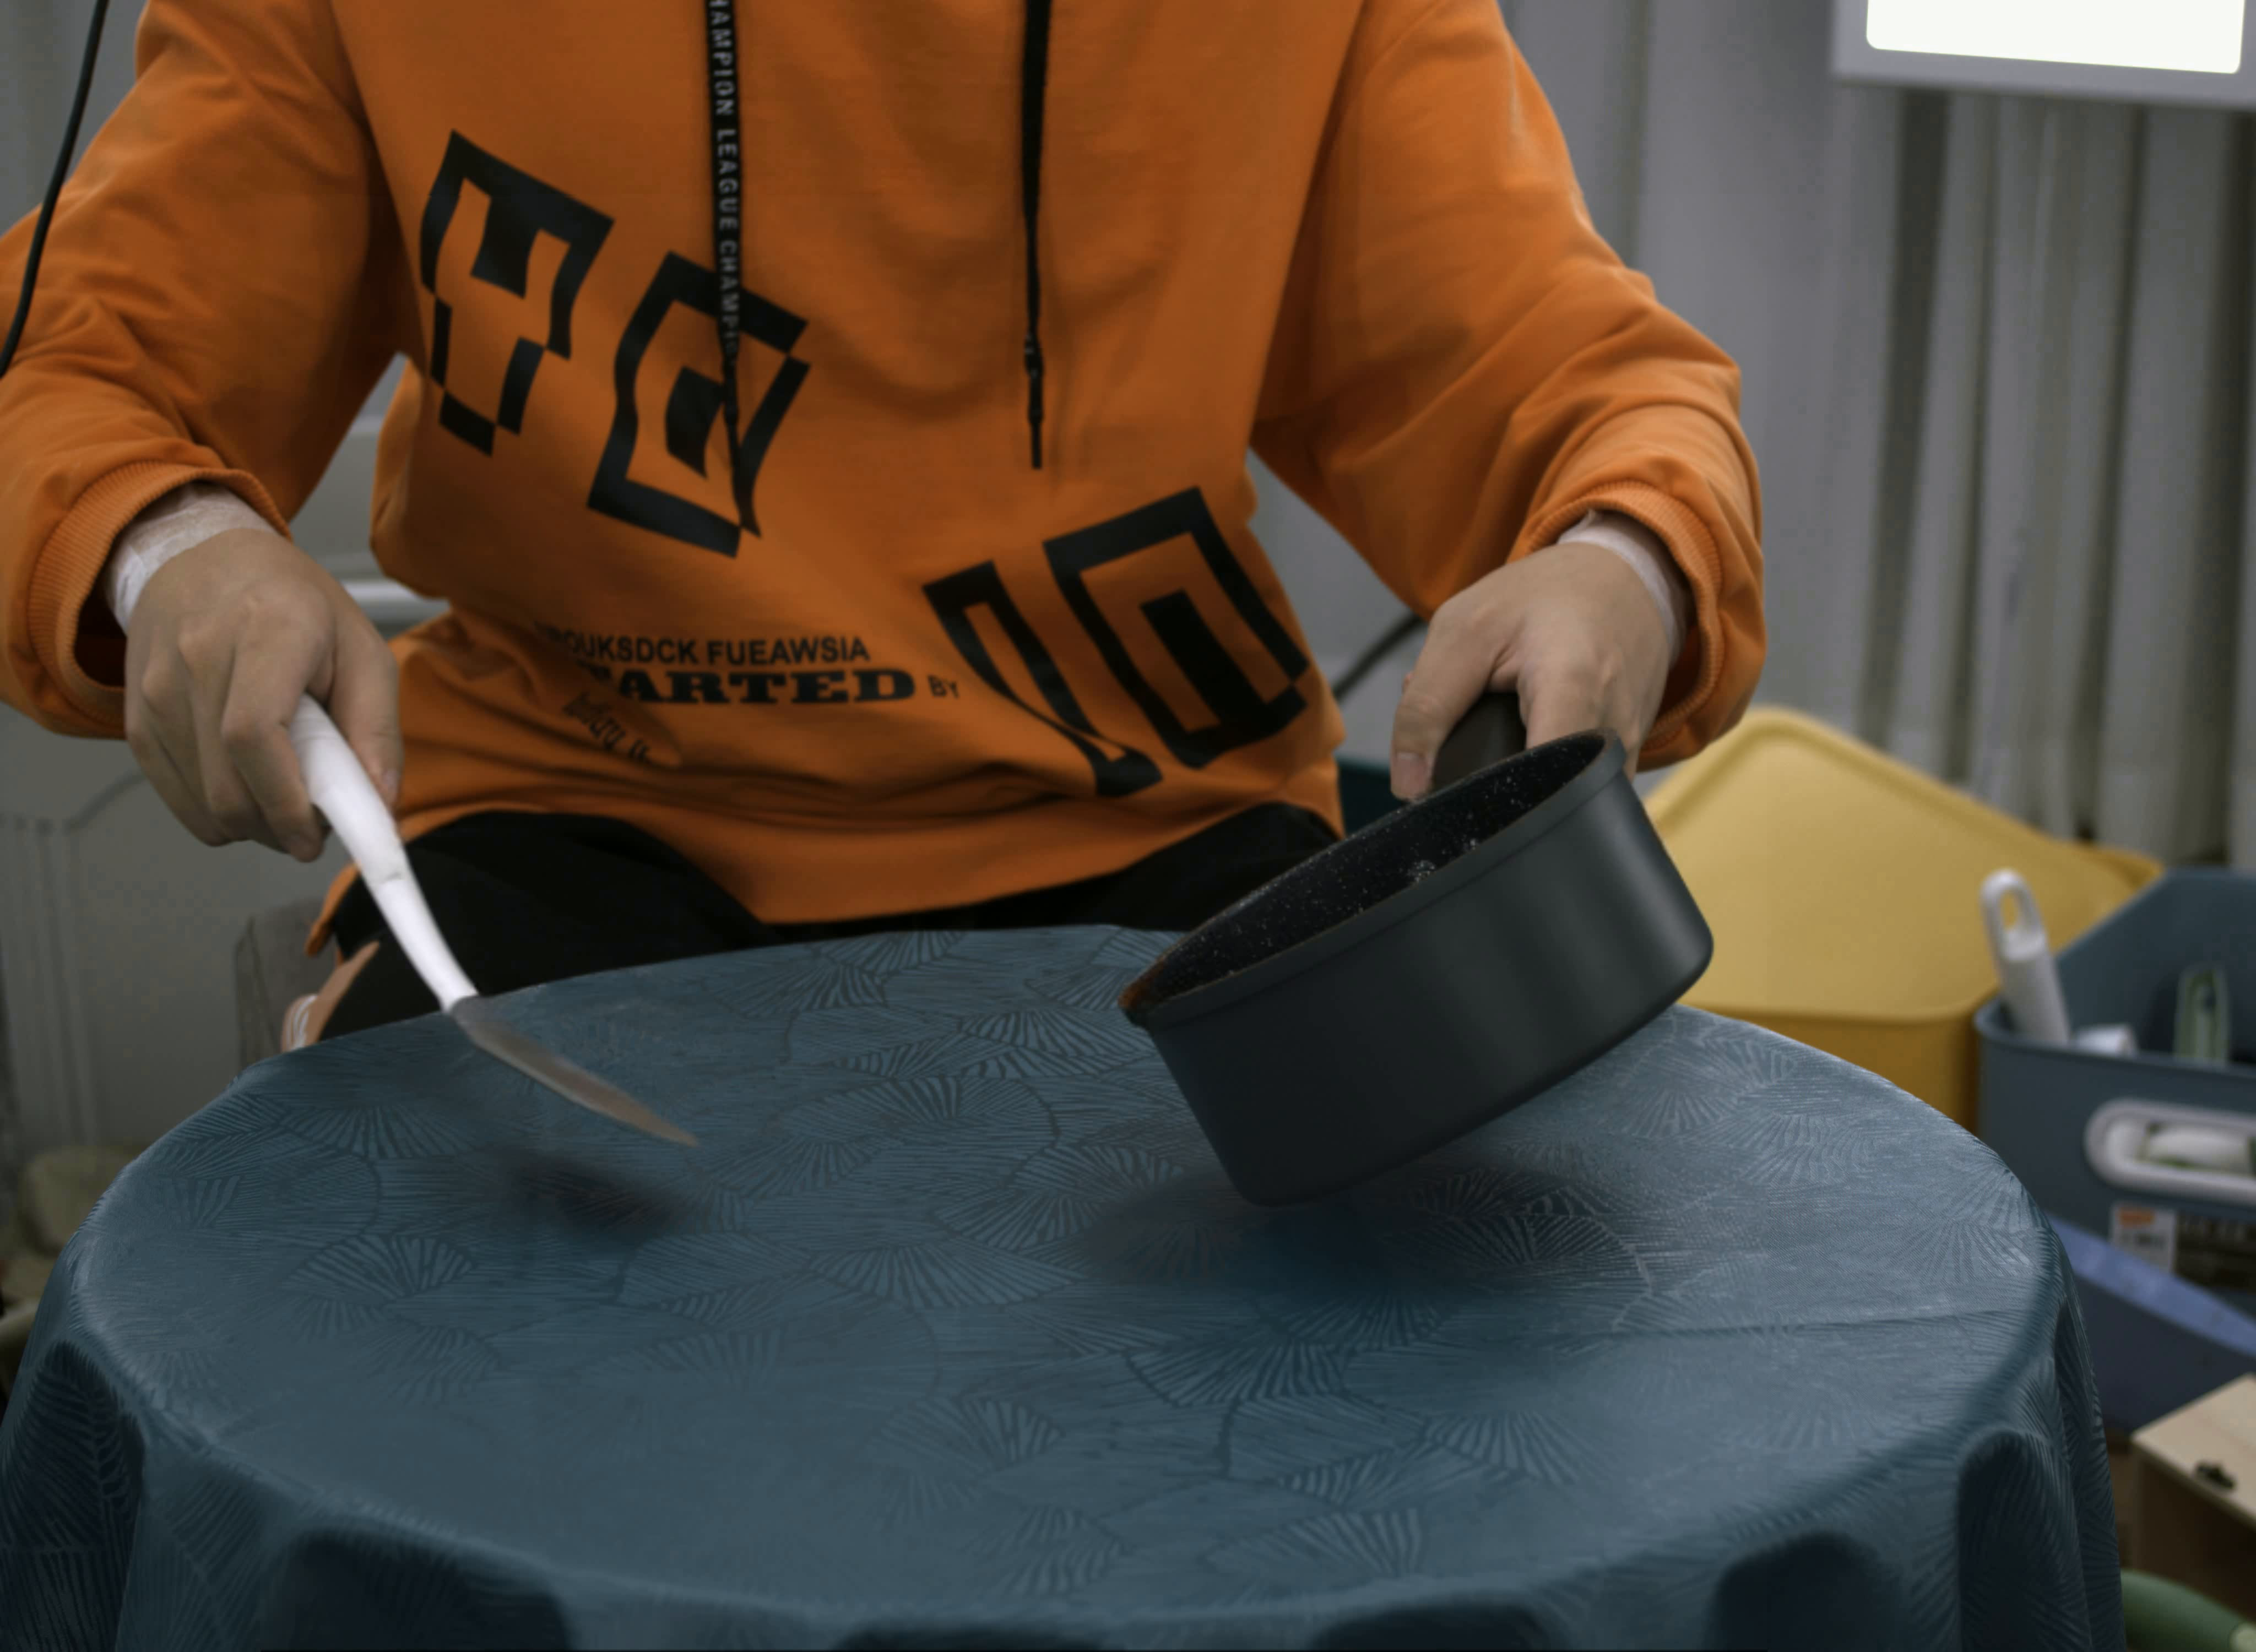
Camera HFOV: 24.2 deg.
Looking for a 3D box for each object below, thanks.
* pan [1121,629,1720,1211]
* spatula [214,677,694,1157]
[{"bbox_3d":[0.110,0.020,1.654,0.171,0.087,0.328,-26,8,22],"label":"pan"},{"bbox_3d":[-0.222,0.032,1.669,0.059,0.032,0.283,34,7,-44],"label":"spatula"}]
